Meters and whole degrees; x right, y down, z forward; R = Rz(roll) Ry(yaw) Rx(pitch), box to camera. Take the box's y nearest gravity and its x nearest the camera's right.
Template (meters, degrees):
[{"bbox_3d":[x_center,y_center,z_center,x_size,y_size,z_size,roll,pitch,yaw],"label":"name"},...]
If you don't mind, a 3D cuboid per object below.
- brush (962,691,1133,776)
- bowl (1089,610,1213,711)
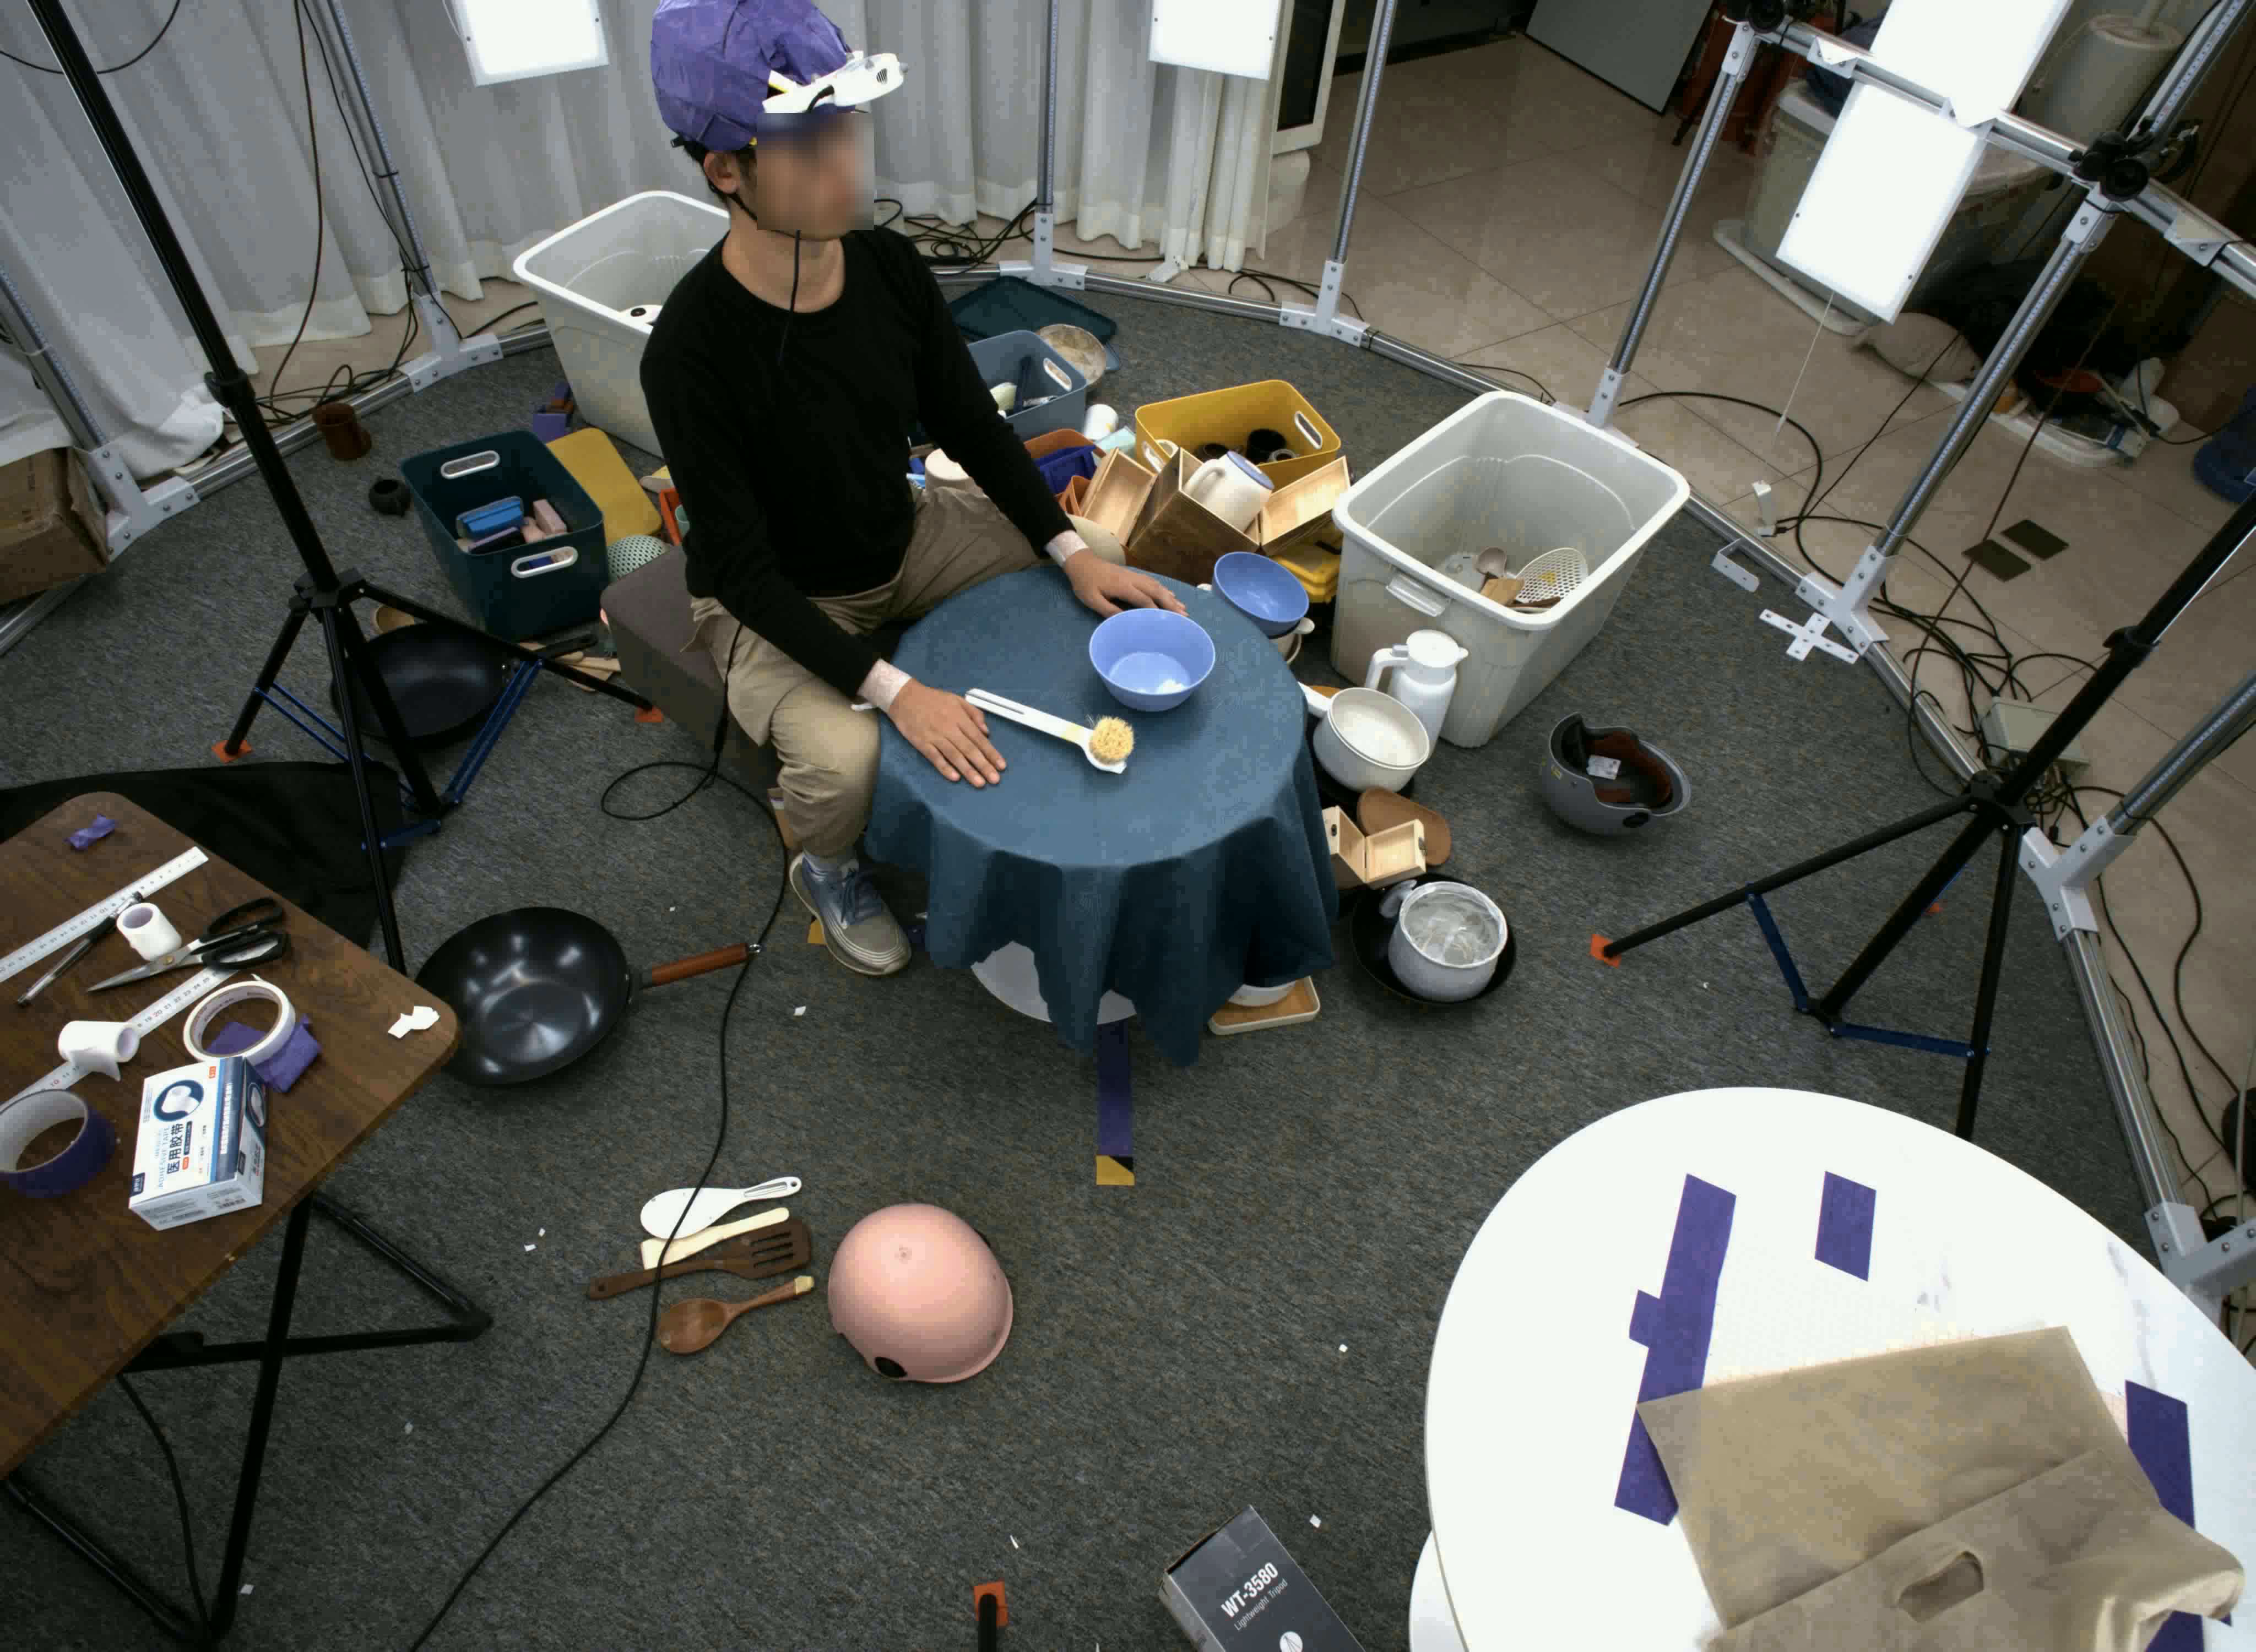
[{"bbox_3d":[-0.115,-0.145,1.754,0.269,0.055,0.069,26,48,18],"label":"brush"},{"bbox_3d":[0.030,-0.226,1.821,0.176,0.068,0.180,2,48,-2],"label":"bowl"}]
